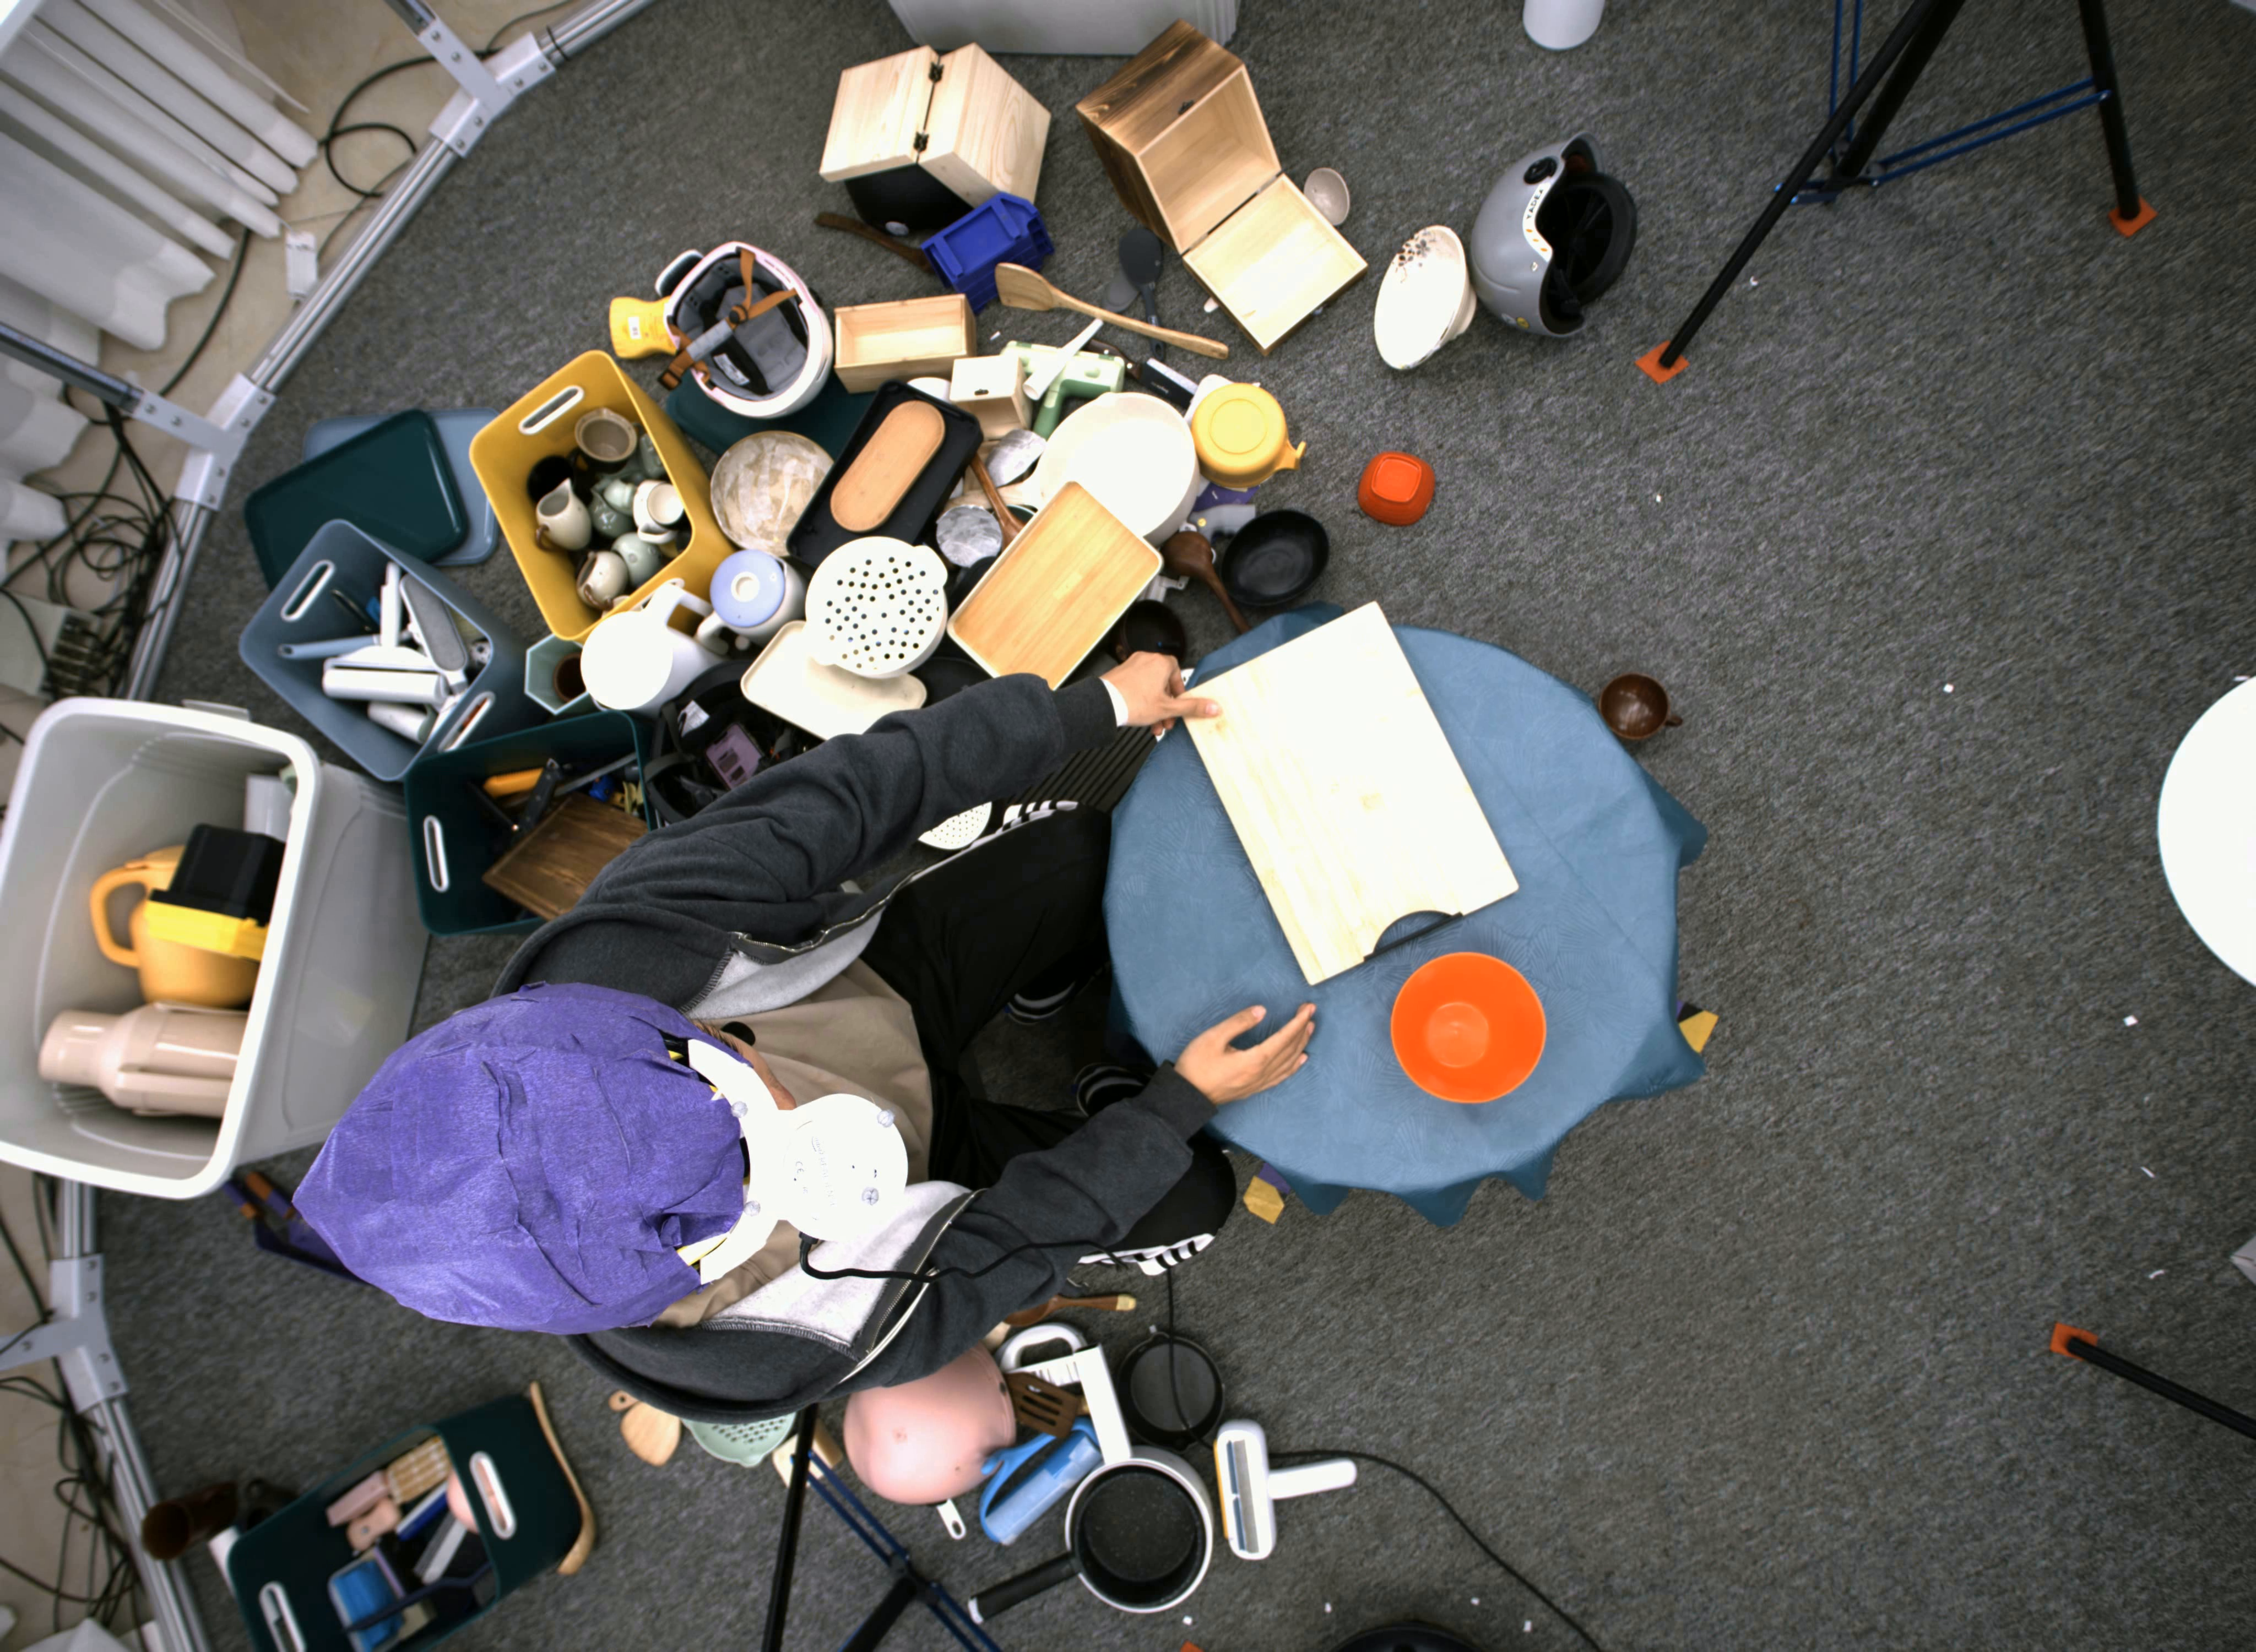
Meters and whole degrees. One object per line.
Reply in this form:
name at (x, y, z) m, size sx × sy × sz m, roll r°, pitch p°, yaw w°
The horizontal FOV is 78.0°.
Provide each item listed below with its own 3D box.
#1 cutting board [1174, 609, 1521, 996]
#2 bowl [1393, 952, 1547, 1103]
cutting board at (0.229, -0.030, 1.458) m, size 0.252 × 0.023 × 0.347 m, roll -27°, pitch 84°, yaw 8°
bowl at (0.339, 0.200, 1.388) m, size 0.148 × 0.105 × 0.147 m, roll -1°, pitch 86°, yaw 9°
